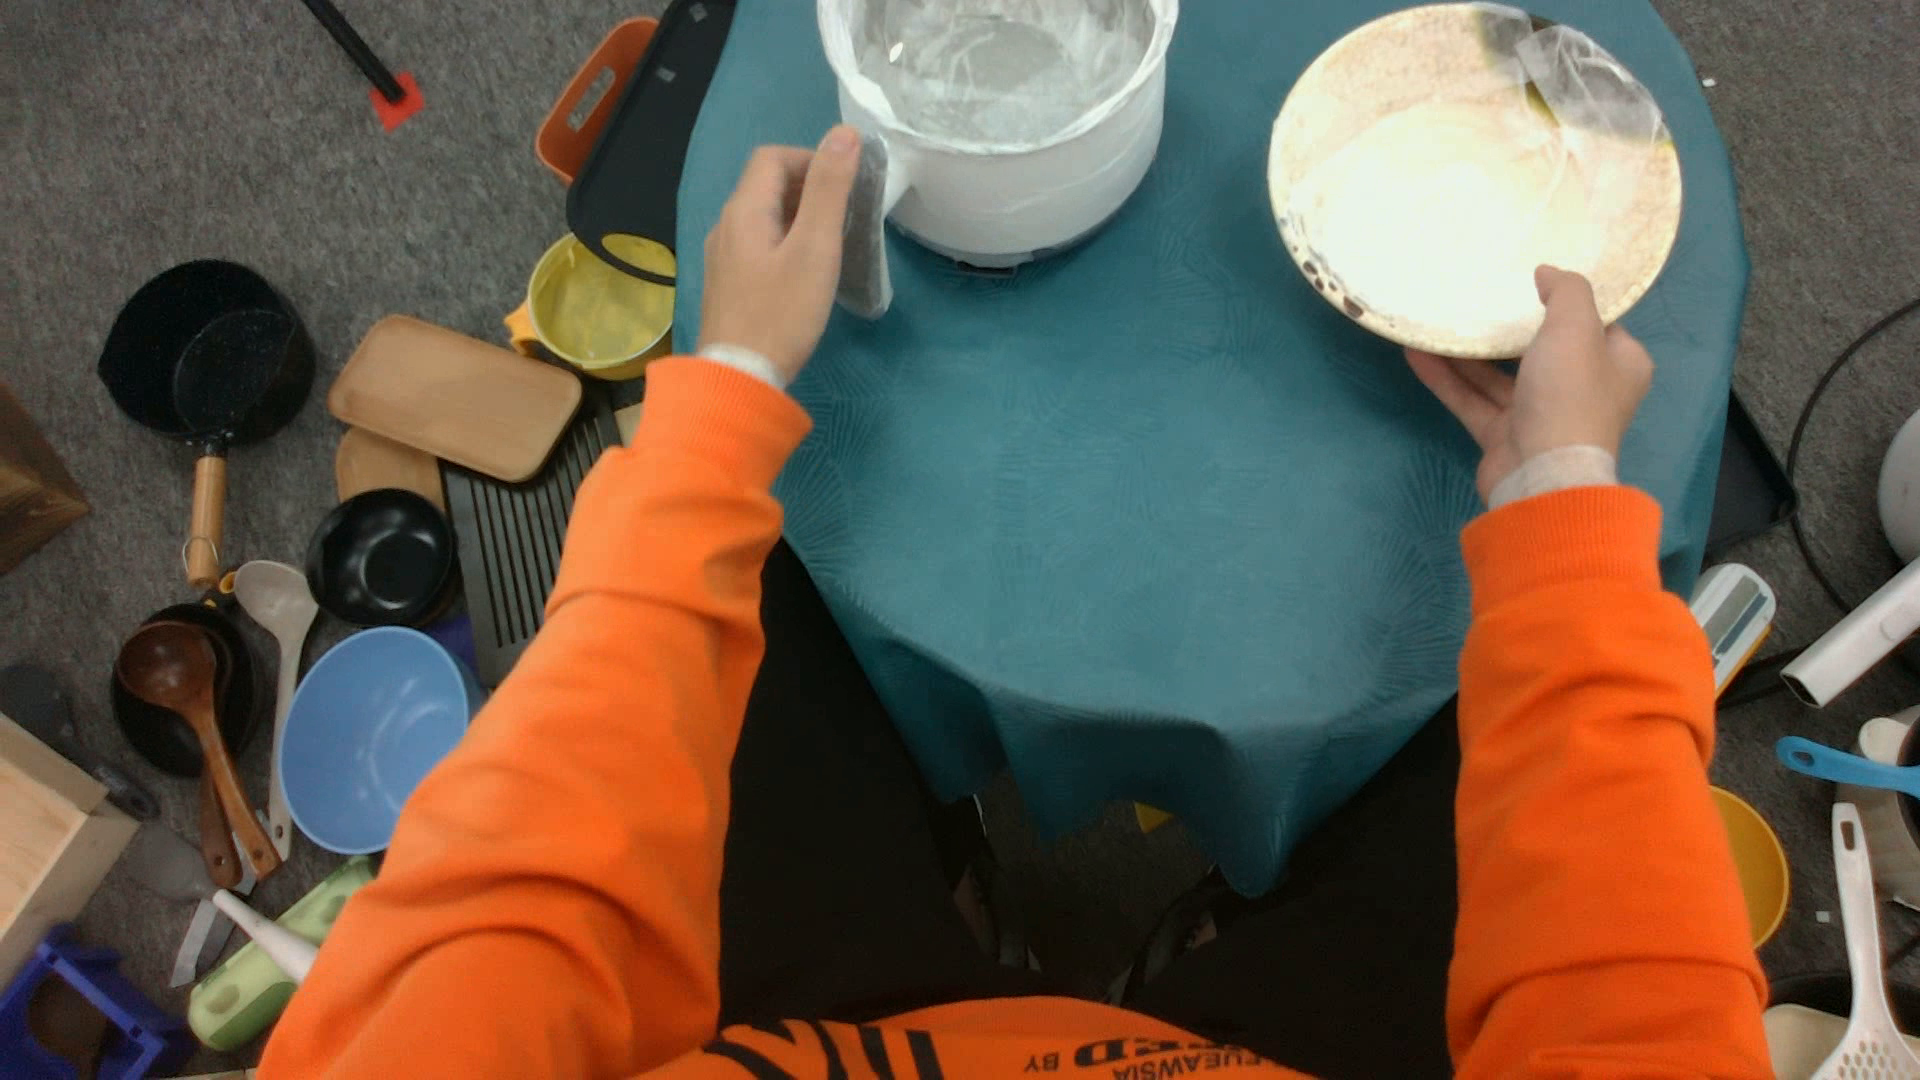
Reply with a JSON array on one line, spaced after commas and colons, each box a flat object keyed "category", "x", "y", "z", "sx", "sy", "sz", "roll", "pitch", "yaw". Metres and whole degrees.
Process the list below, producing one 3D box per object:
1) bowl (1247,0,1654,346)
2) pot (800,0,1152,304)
[{"category": "bowl", "x": 0.251, "y": -0.186, "z": 0.737, "sx": 0.204, "sy": 0.078, "sz": 0.204, "roll": -1, "pitch": 76, "yaw": 3}, {"category": "pot", "x": -0.004, "y": -0.235, "z": 0.731, "sx": 0.179, "sy": 0.136, "sz": 0.234, "roll": 33, "pitch": 78, "yaw": 12}]
